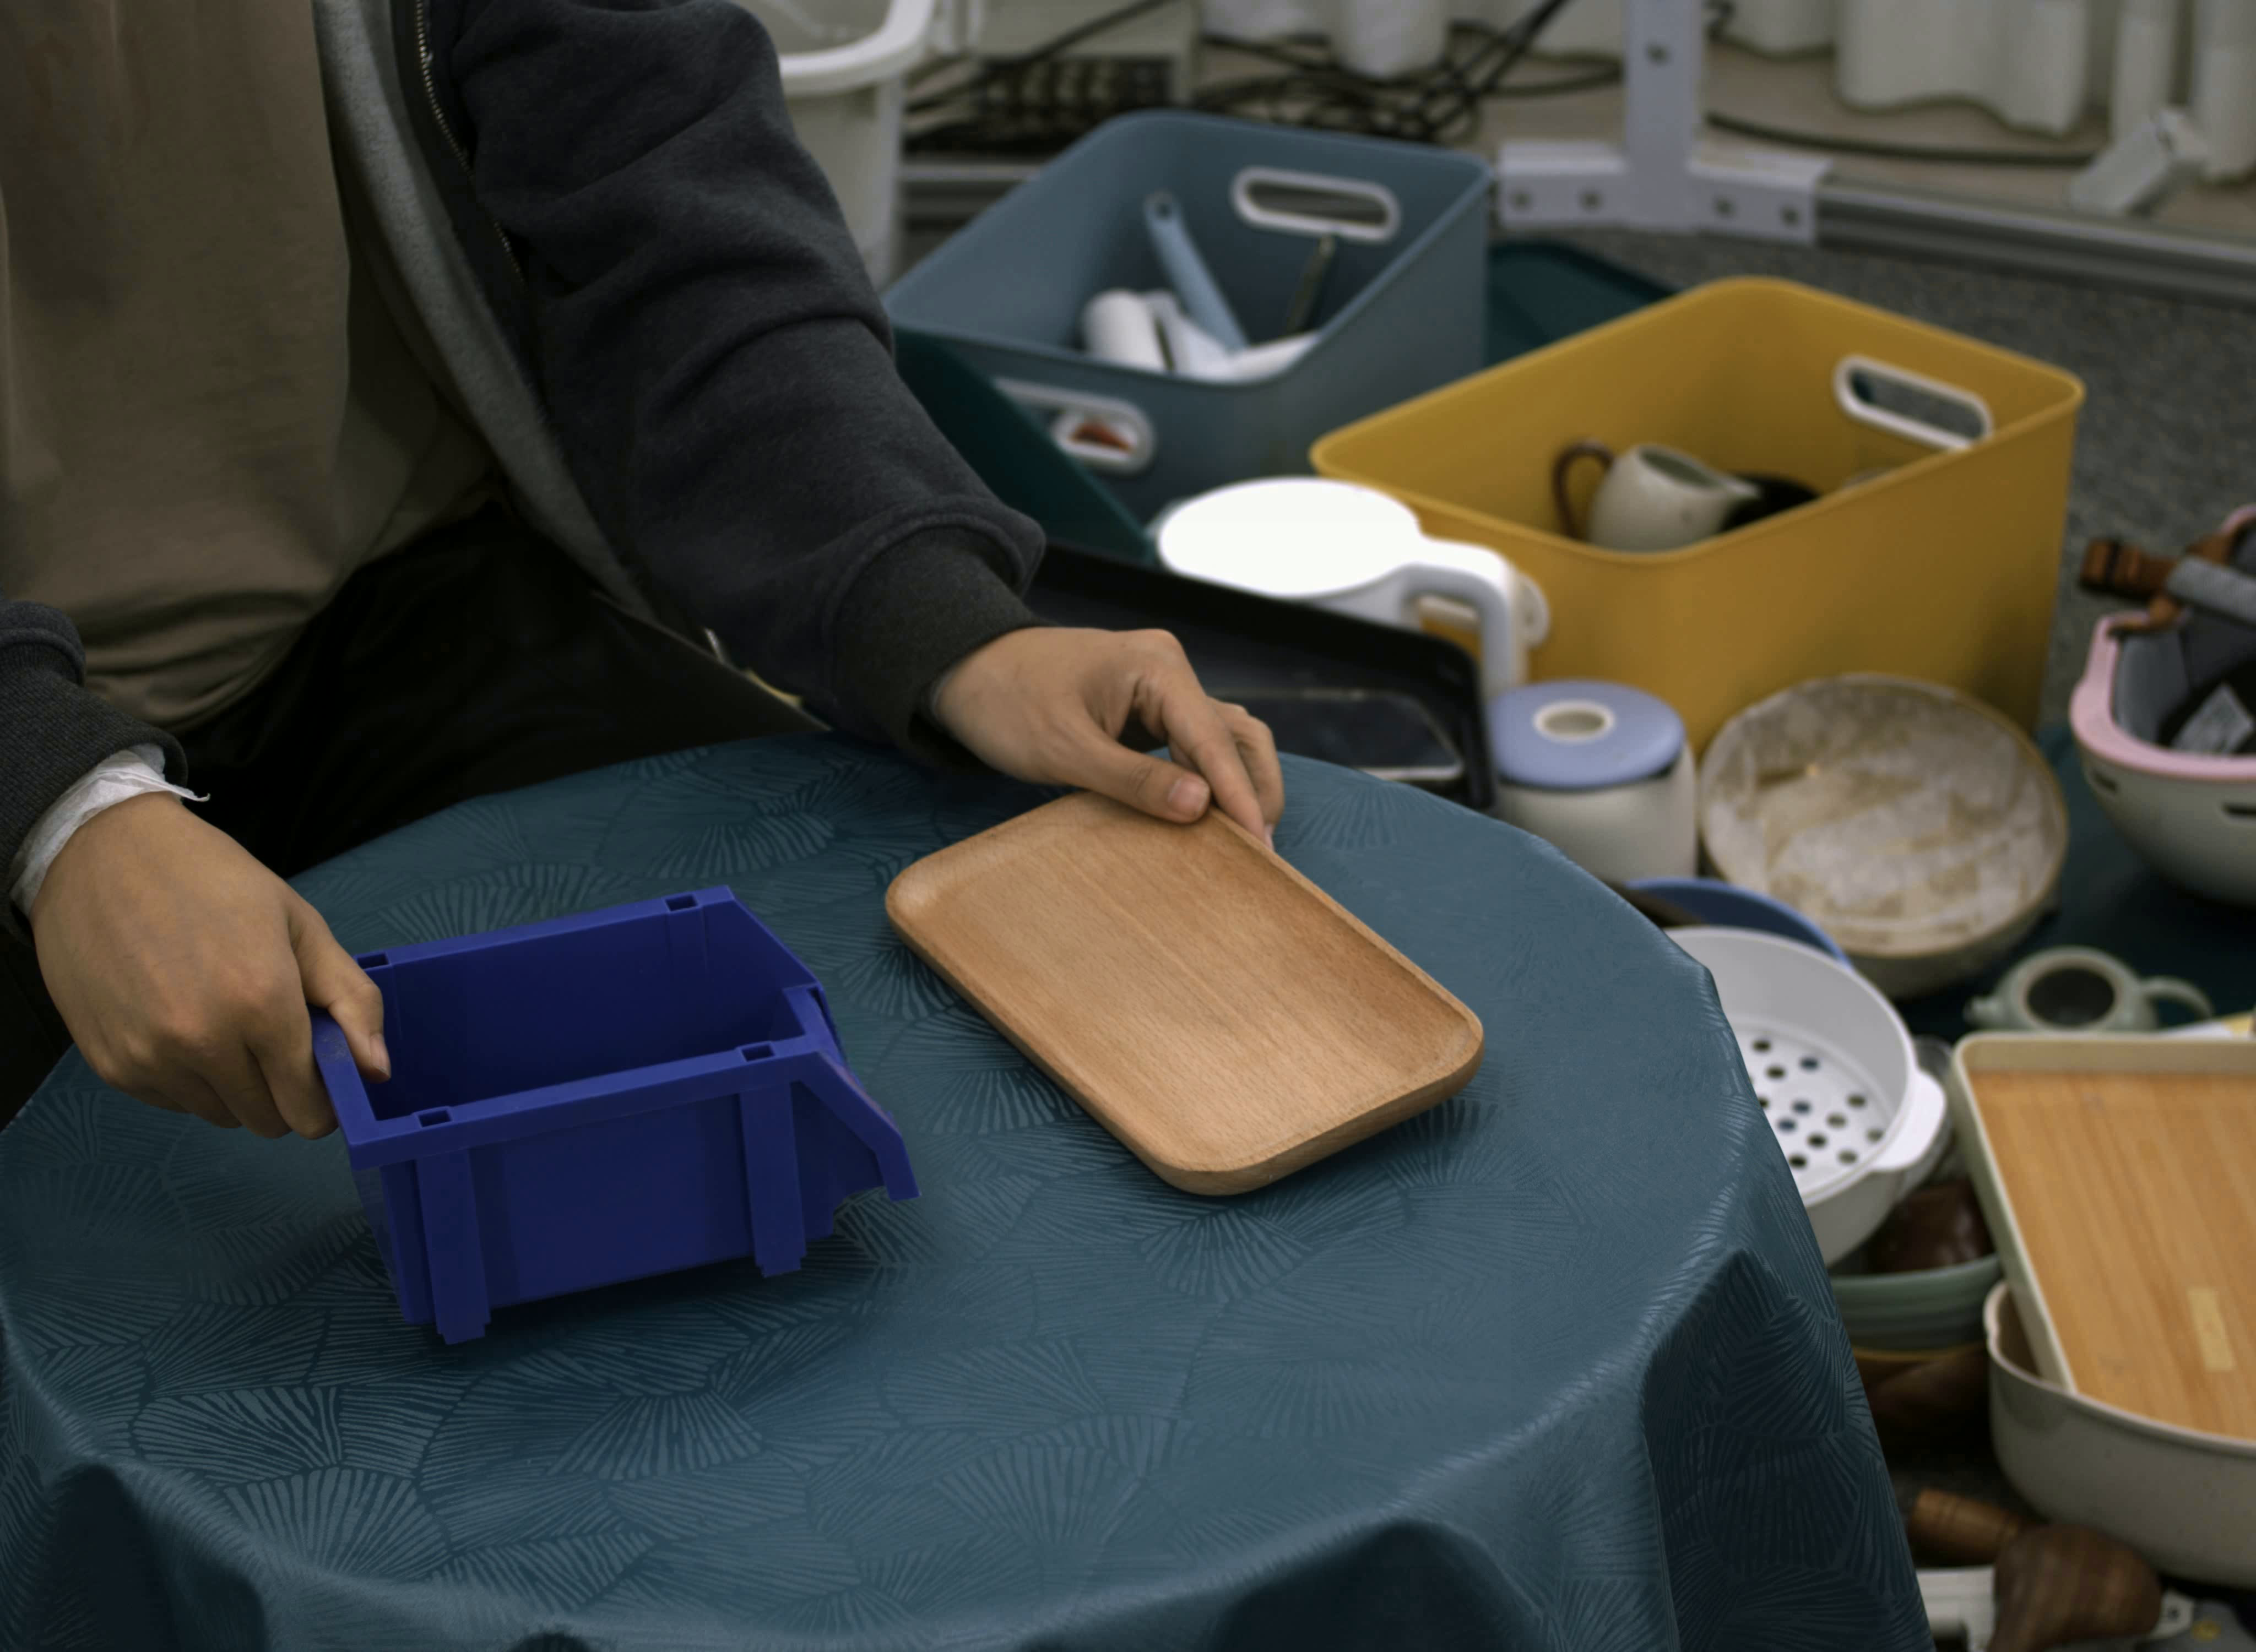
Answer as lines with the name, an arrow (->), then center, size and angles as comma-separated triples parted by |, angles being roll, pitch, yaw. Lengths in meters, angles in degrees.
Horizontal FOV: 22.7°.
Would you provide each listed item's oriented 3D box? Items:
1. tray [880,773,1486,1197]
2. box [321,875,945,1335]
tray -> 0.016, 0.053, 1.958 | 0.131, 0.022, 0.252 | -21, 32, -21
box -> -0.161, 0.087, 1.829 | 0.179, 0.081, 0.126 | -13, 28, -11
